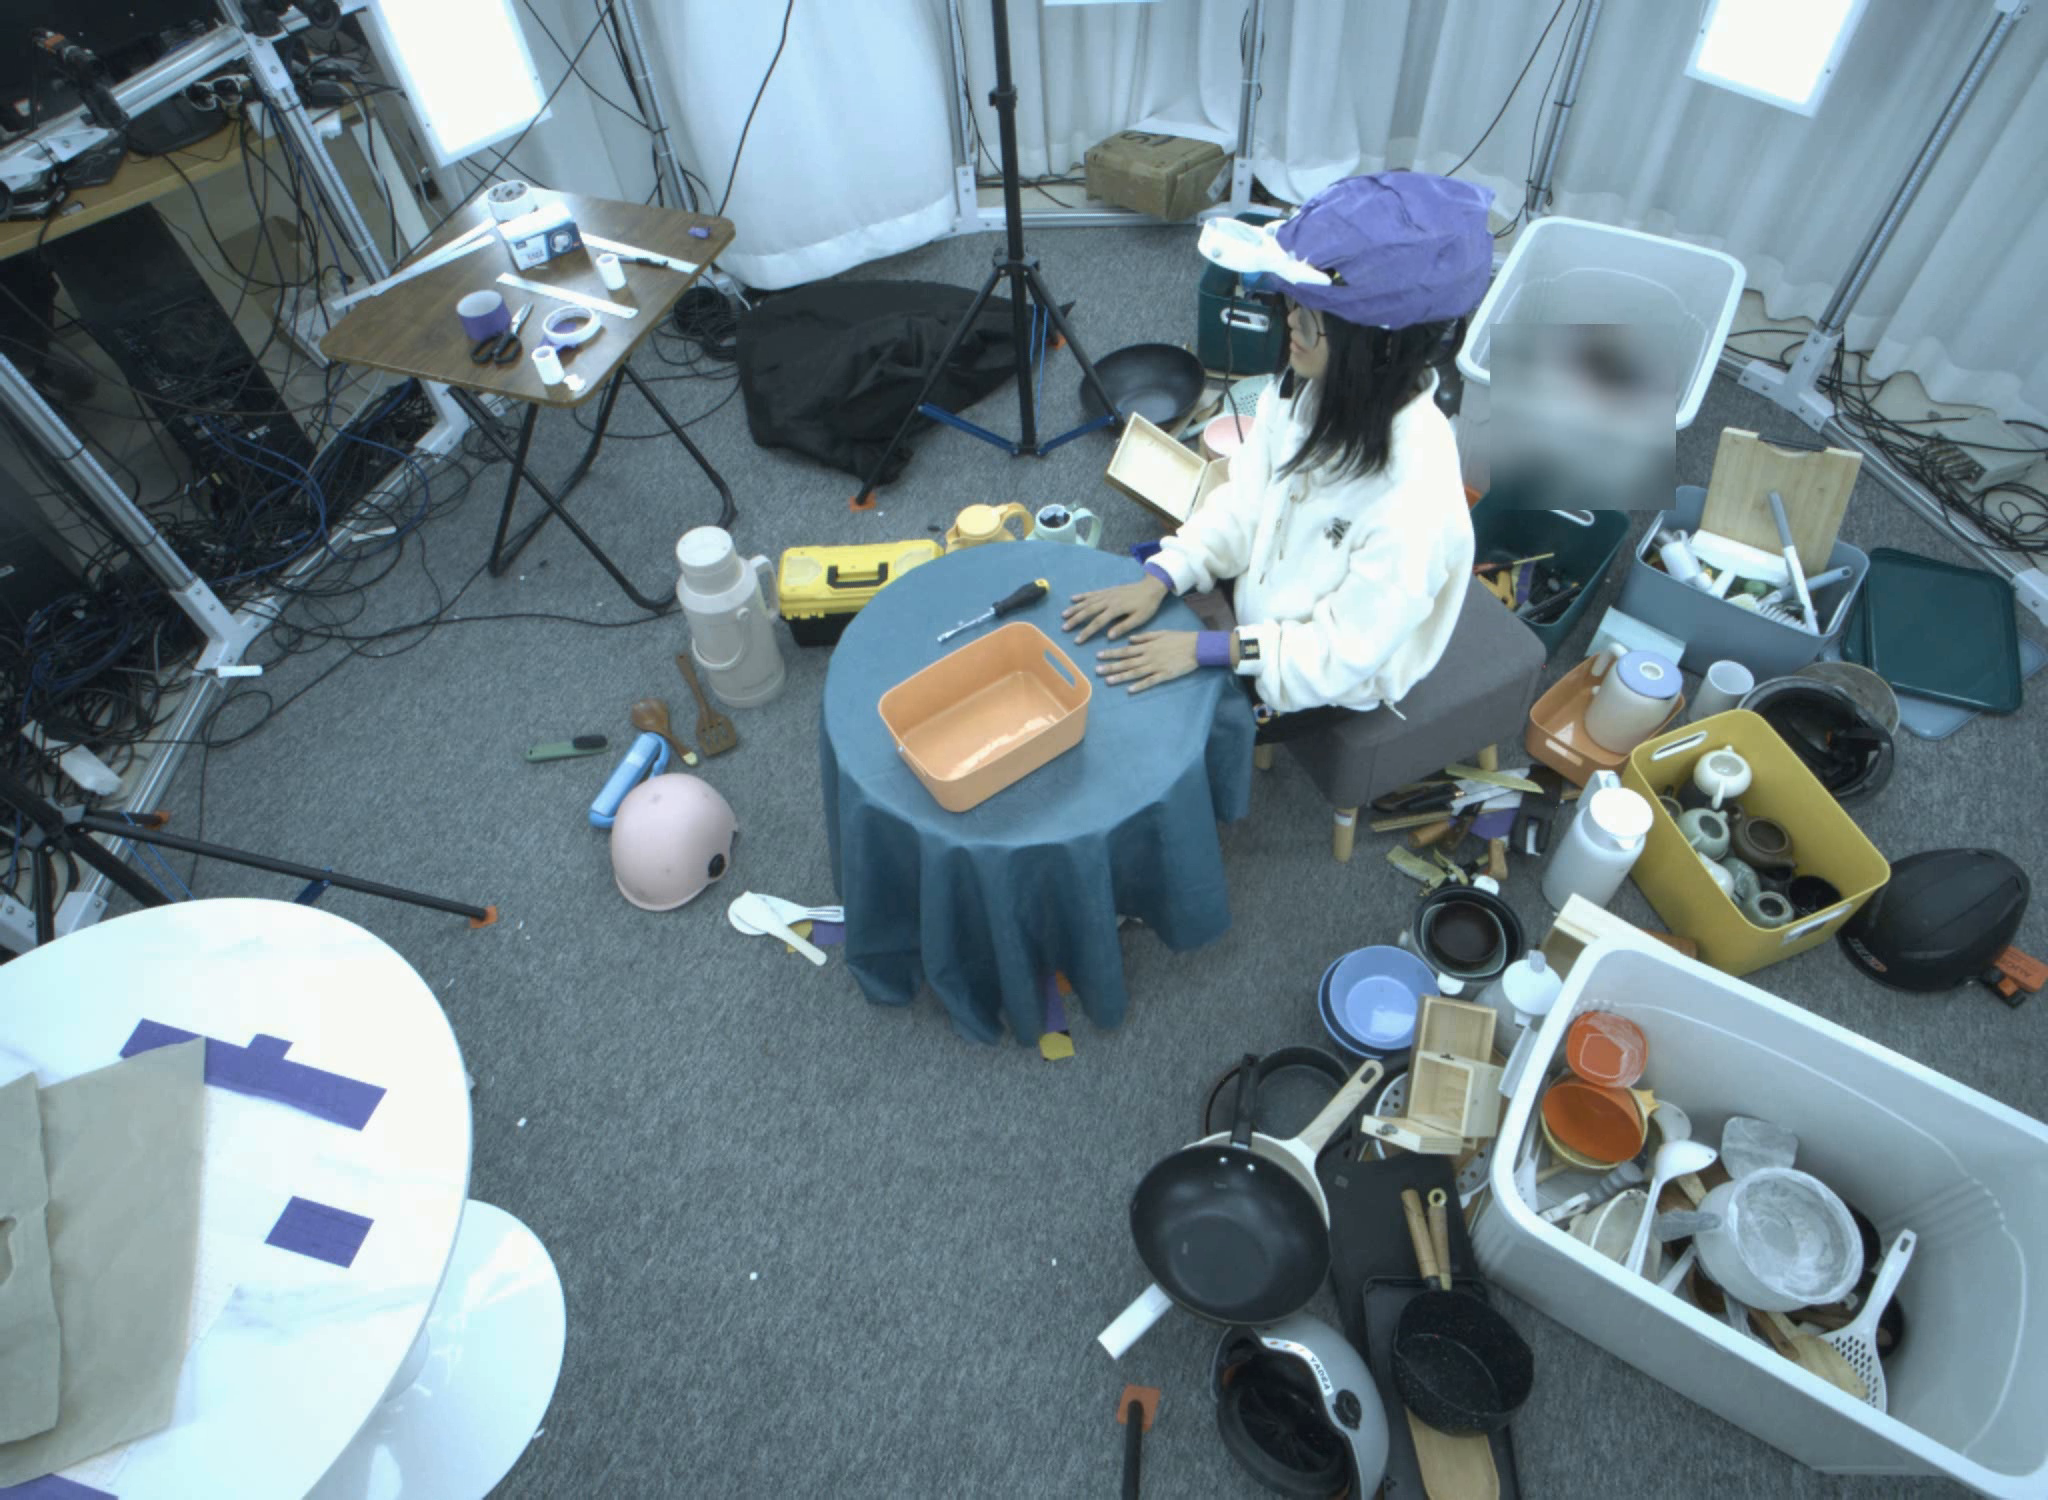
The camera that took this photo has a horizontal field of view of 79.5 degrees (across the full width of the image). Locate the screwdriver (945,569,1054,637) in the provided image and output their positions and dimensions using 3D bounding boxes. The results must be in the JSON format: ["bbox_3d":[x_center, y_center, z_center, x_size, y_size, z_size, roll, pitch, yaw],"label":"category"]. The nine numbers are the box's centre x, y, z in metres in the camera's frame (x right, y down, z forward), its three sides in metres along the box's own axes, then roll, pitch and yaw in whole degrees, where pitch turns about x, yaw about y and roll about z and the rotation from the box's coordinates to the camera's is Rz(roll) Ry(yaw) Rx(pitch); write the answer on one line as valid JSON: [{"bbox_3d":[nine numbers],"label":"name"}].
[{"bbox_3d":[-0.038,-0.225,1.920,0.198,0.032,0.031,-35,60,-10],"label":"screwdriver"}]

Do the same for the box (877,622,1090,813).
[{"bbox_3d":[-0.052,-0.043,1.756,0.275,0.104,0.195,-32,59,-18],"label":"box"}]
